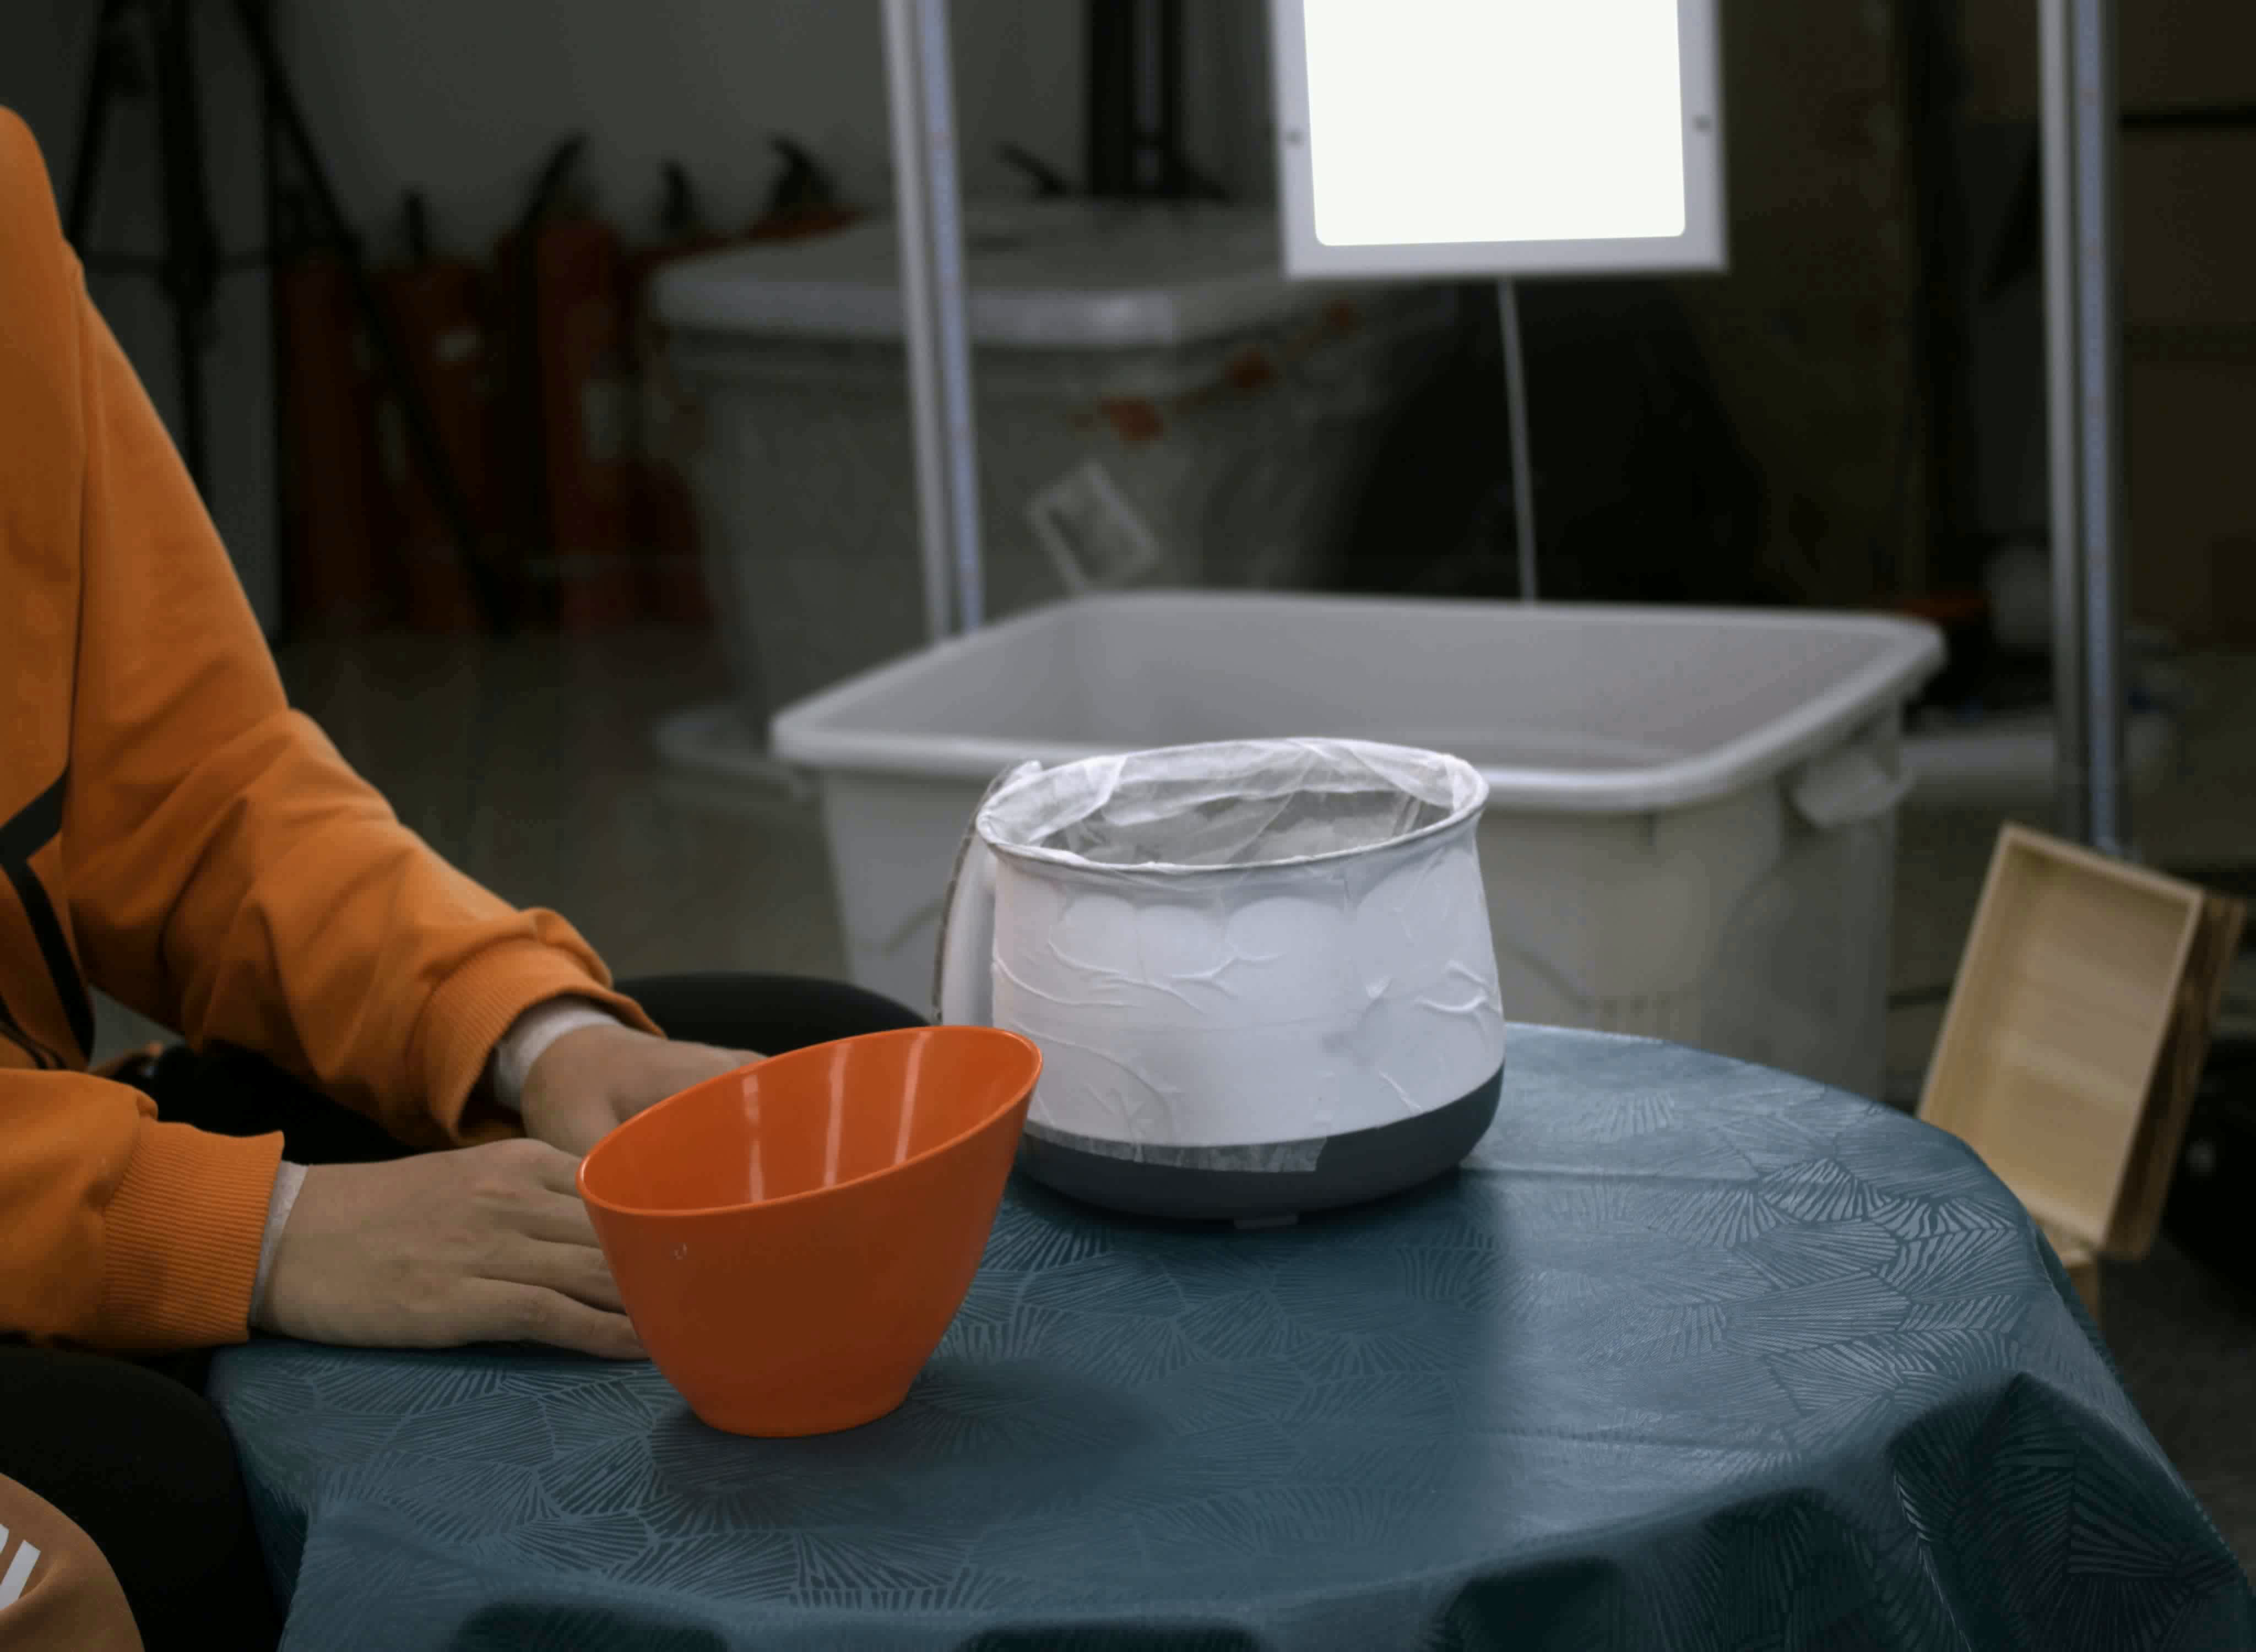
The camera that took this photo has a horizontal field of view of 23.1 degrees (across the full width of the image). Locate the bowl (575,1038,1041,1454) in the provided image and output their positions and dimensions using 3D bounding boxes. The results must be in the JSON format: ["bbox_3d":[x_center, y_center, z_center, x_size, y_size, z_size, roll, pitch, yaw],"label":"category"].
[{"bbox_3d":[-0.094,0.133,1.707,0.148,0.105,0.148,-7,13,0],"label":"bowl"}]

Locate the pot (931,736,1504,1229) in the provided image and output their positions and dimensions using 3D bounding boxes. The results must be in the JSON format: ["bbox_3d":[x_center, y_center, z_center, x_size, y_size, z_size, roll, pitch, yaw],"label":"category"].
[{"bbox_3d":[0.020,0.049,1.915,0.239,0.137,0.174,9,19,42],"label":"pot"}]
